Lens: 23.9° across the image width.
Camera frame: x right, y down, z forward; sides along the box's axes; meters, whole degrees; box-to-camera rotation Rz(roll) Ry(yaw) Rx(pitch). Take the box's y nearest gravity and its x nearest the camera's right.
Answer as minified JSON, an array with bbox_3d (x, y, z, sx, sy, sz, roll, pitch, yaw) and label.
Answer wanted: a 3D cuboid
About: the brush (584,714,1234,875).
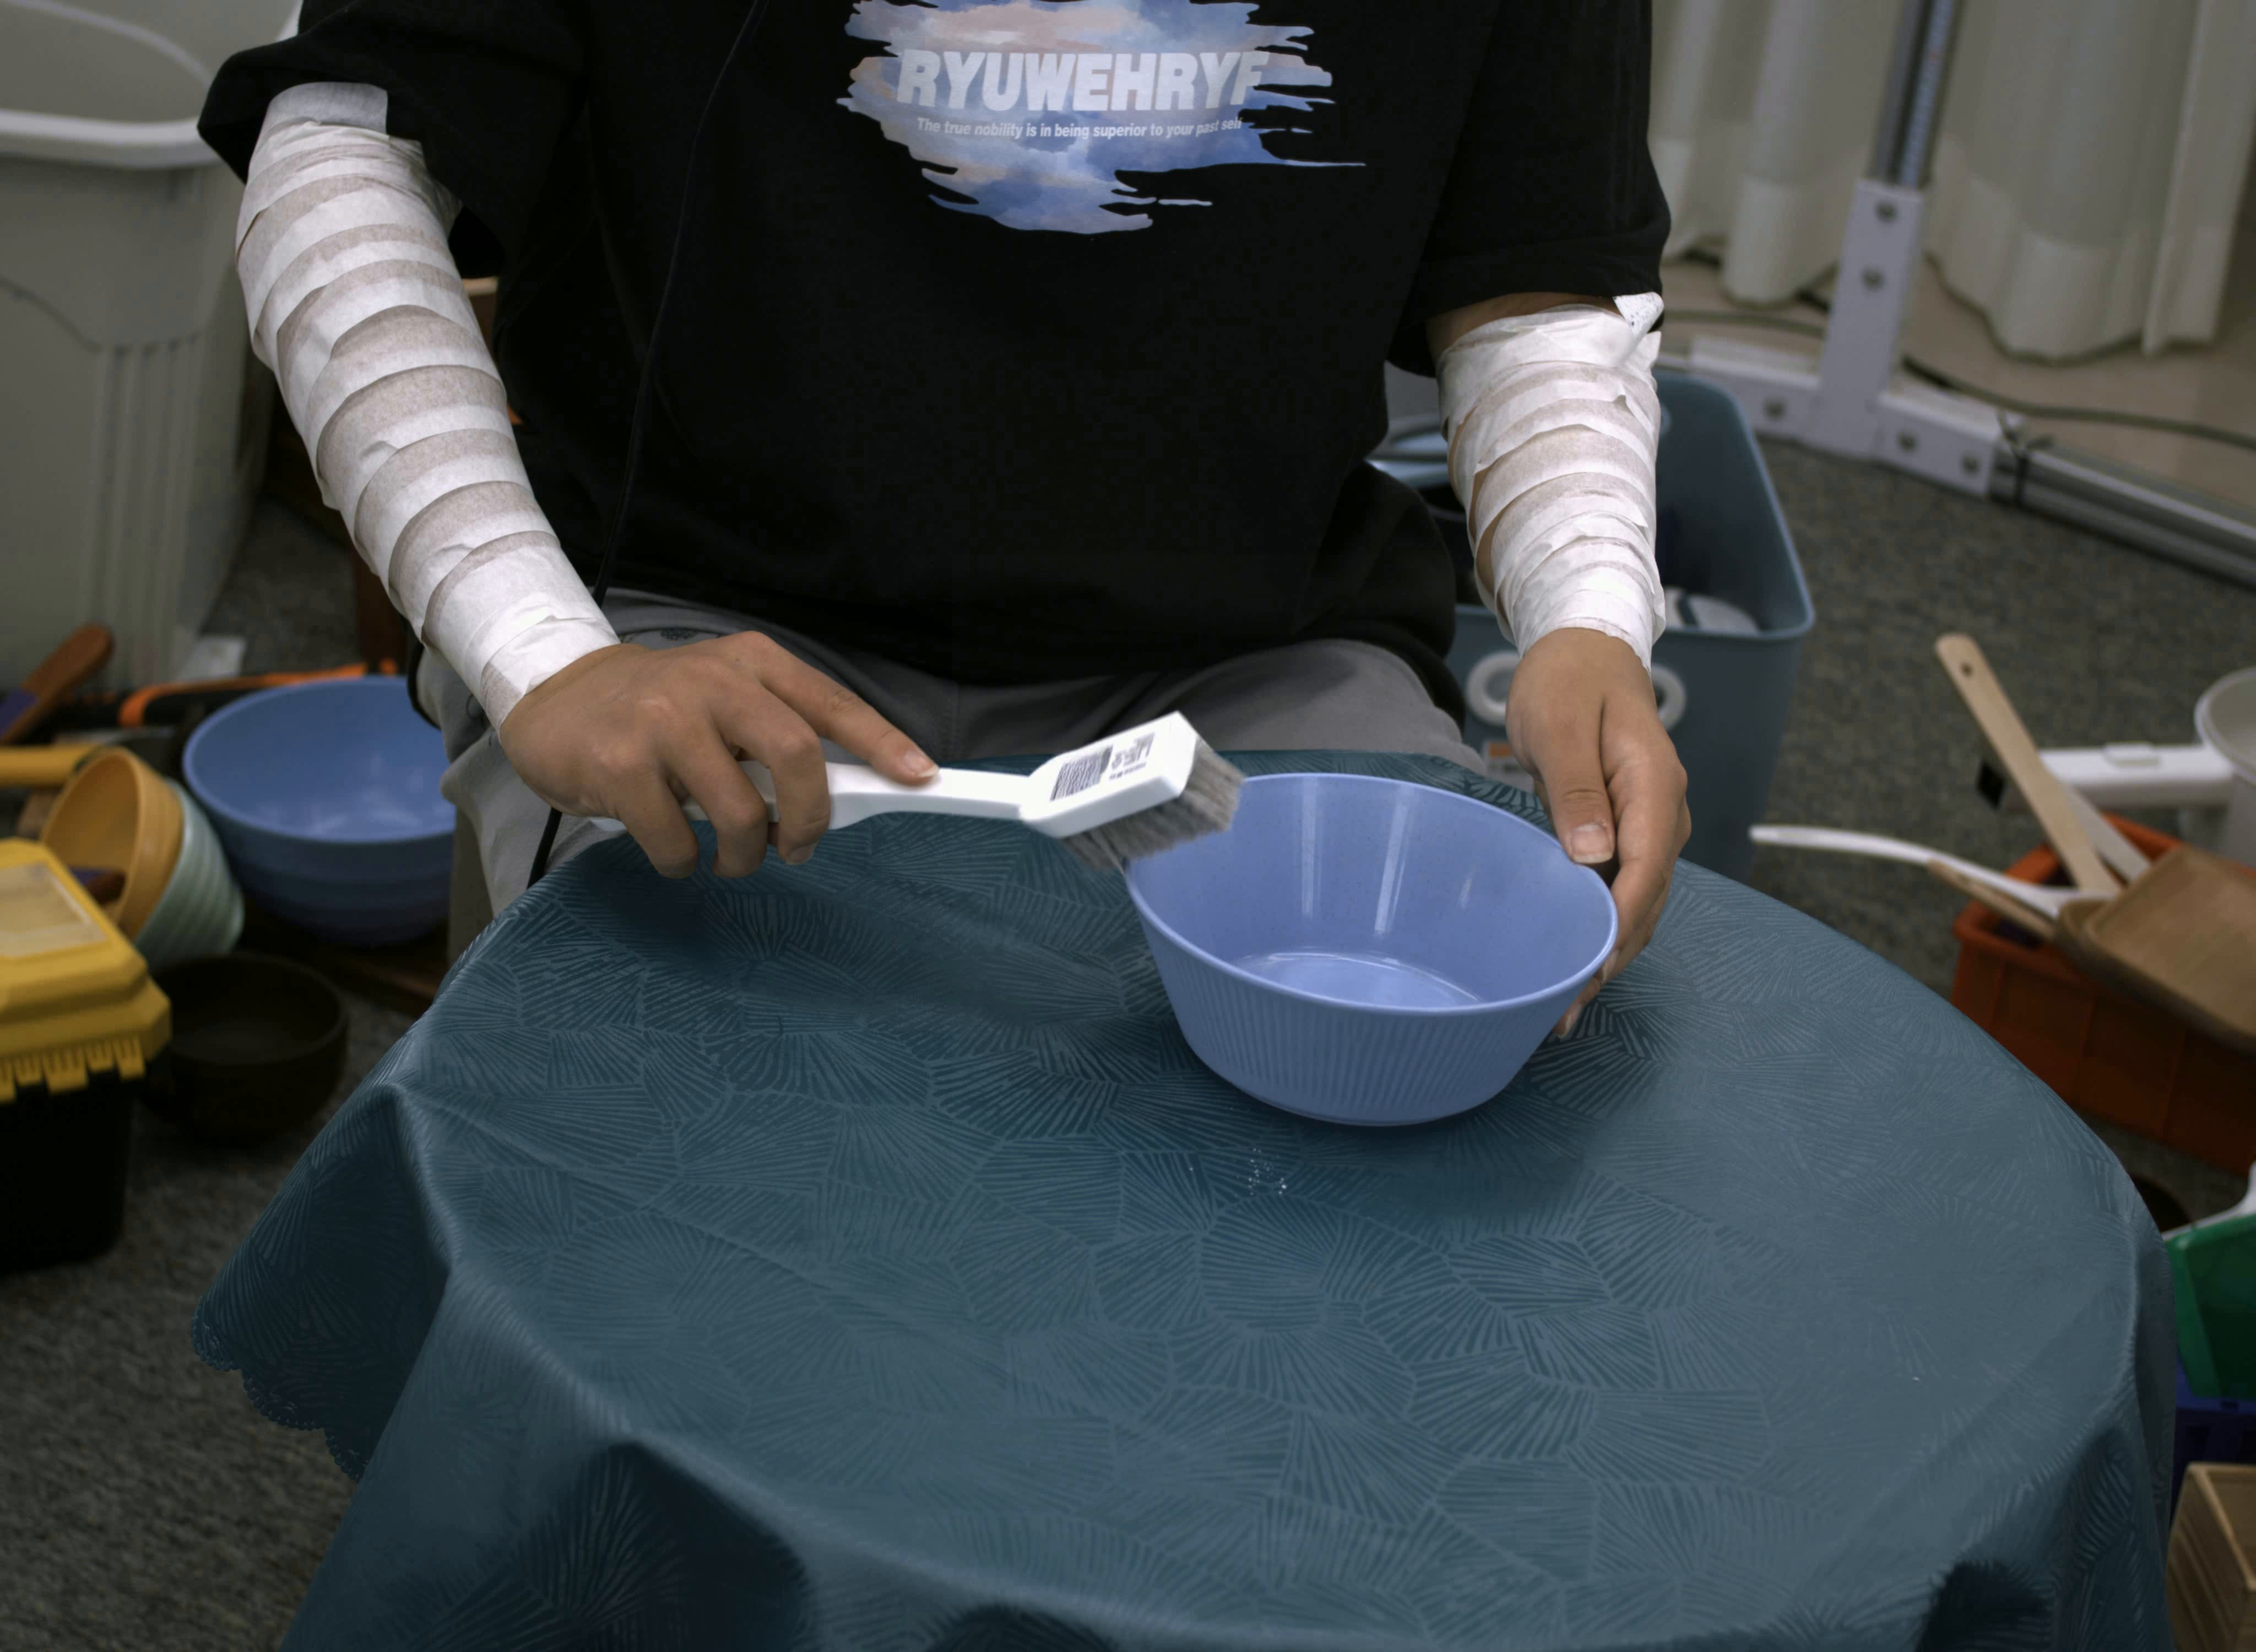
[{"bbox_3d":[-0.079,-0.002,1.896,0.244,0.050,0.034,-6,43,22],"label":"brush"}]

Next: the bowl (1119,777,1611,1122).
[{"bbox_3d":[0.080,0.049,1.891,0.175,0.070,0.177,6,26,-3],"label":"bowl"}]
